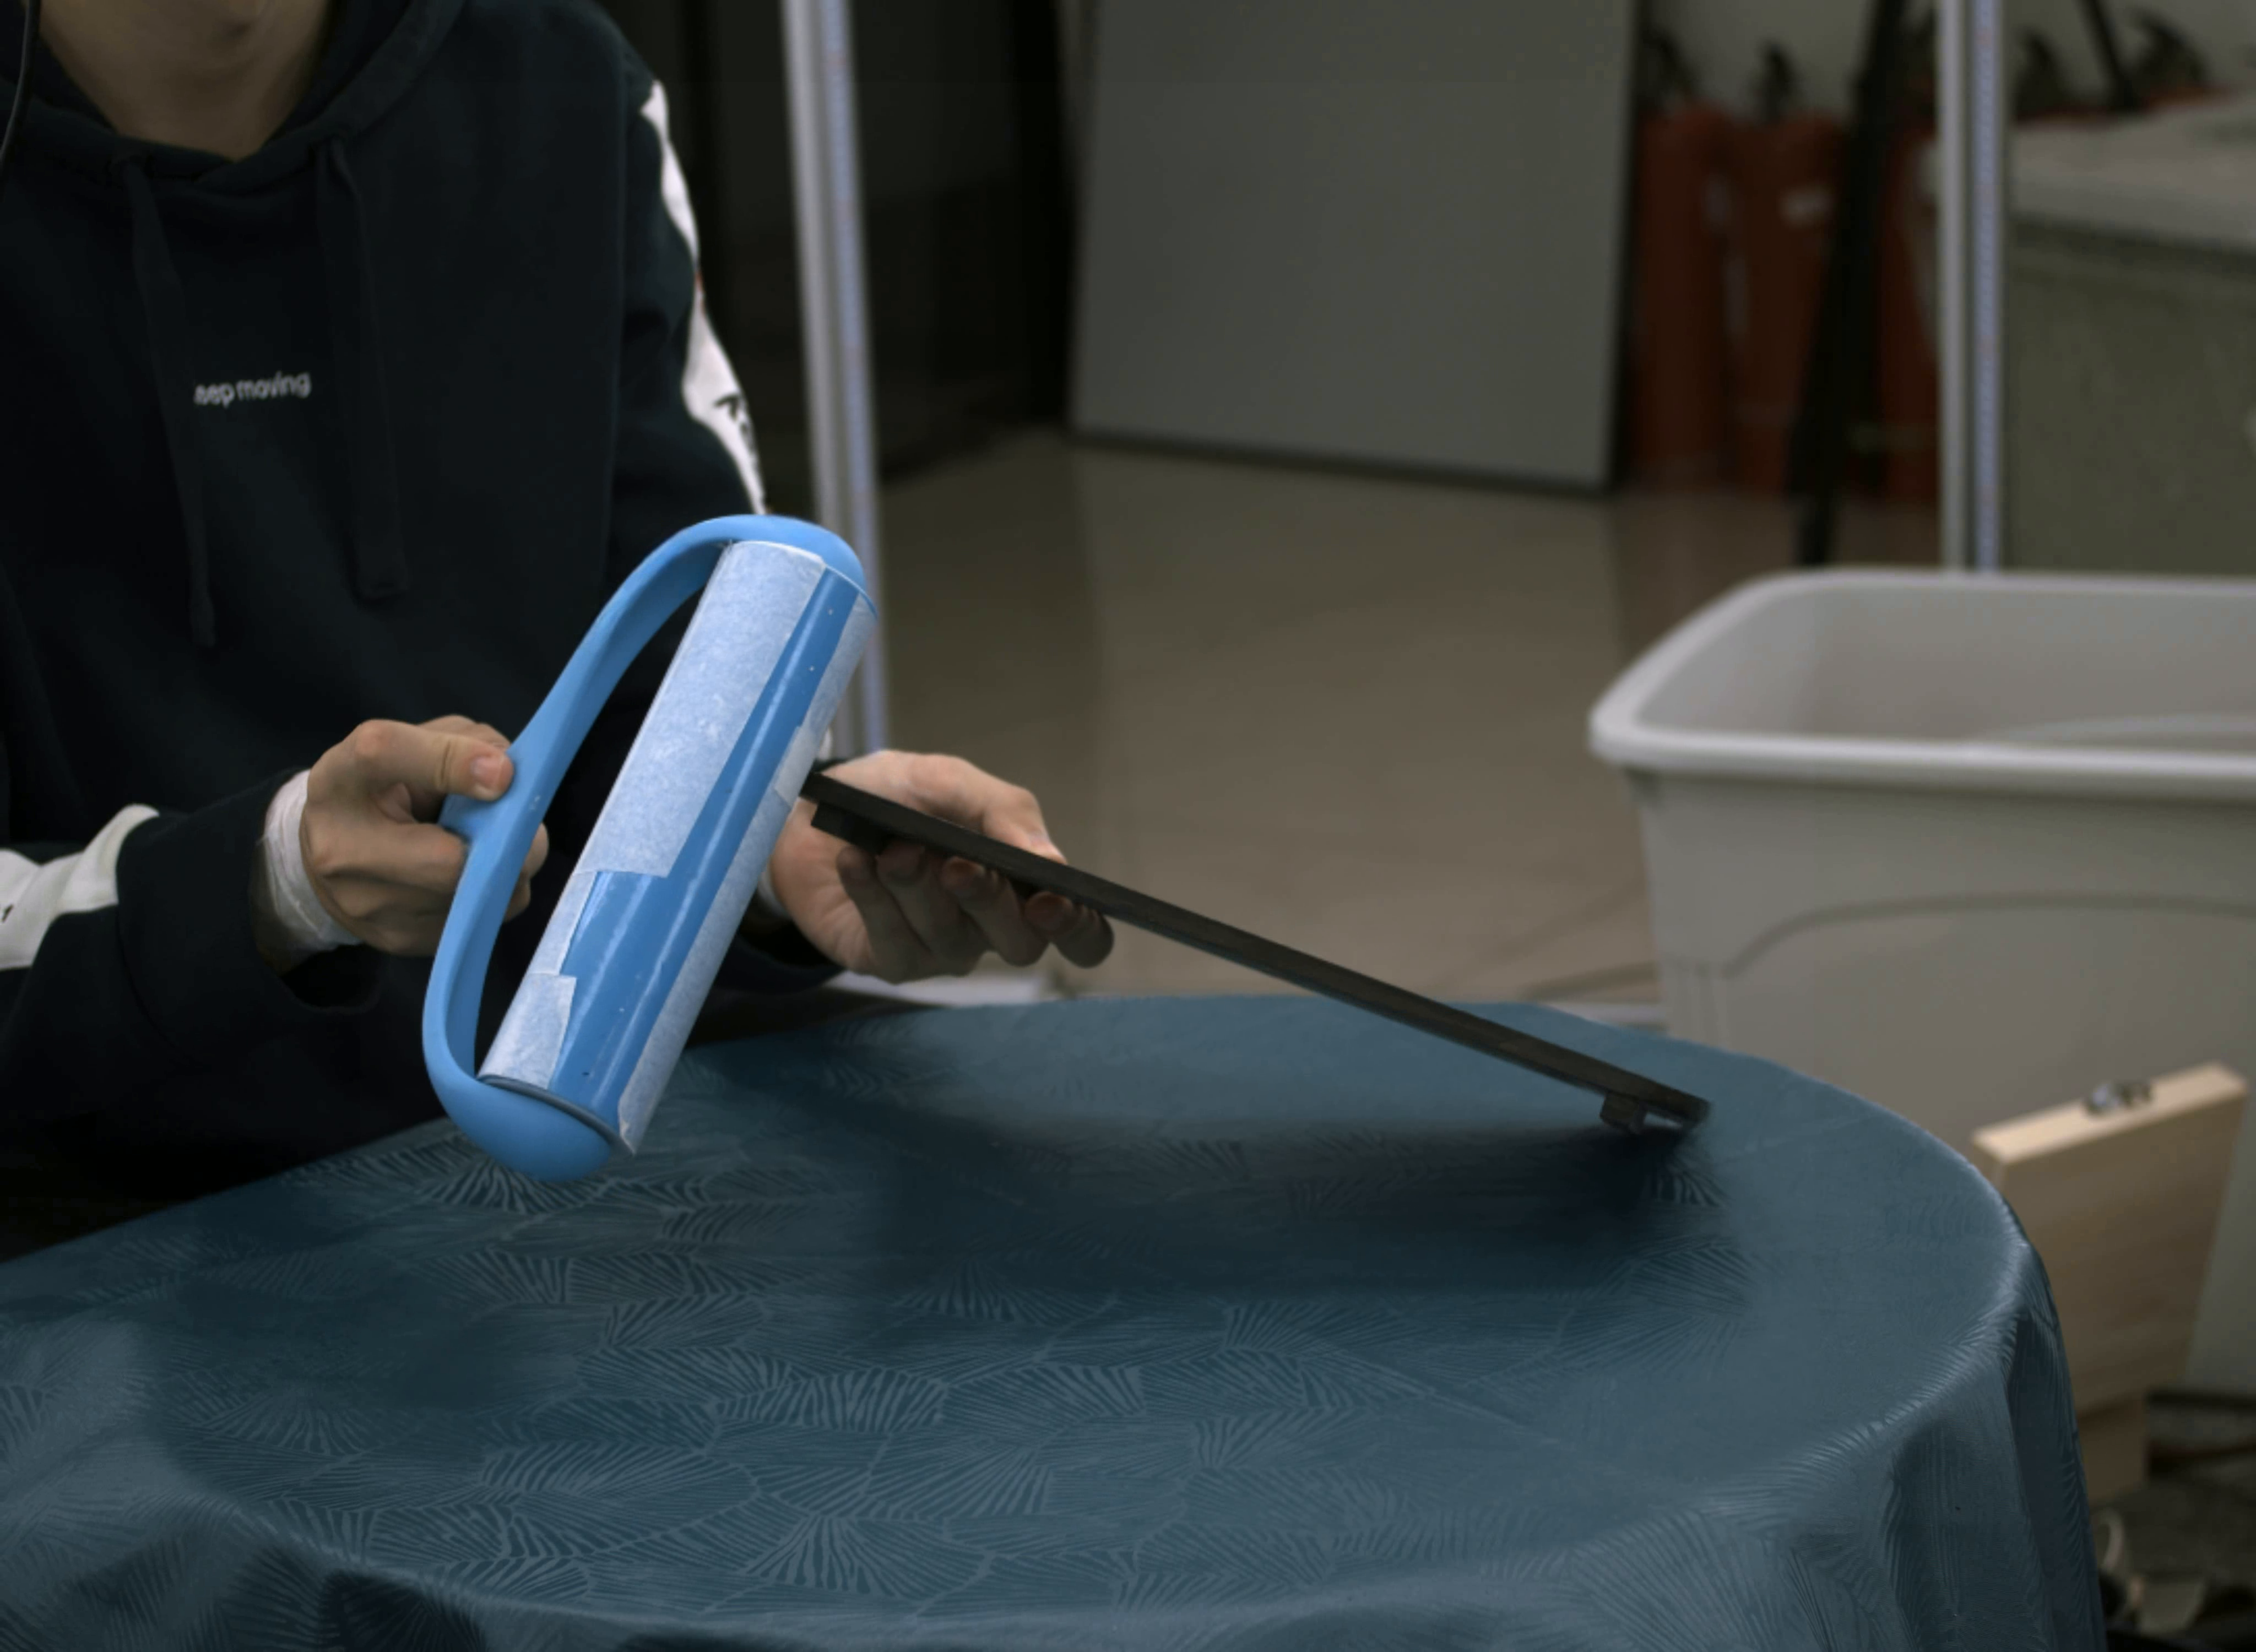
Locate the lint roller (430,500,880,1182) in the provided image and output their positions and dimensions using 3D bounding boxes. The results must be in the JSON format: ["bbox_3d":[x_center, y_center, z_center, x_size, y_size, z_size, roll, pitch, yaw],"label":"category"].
[{"bbox_3d":[-0.177,0.005,1.699,0.182,0.230,0.067,-4,-31,47],"label":"lint roller"}]

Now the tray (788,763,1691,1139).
[{"bbox_3d":[0.037,0.044,1.742,0.304,0.019,0.169,20,-3,9],"label":"tray"}]
